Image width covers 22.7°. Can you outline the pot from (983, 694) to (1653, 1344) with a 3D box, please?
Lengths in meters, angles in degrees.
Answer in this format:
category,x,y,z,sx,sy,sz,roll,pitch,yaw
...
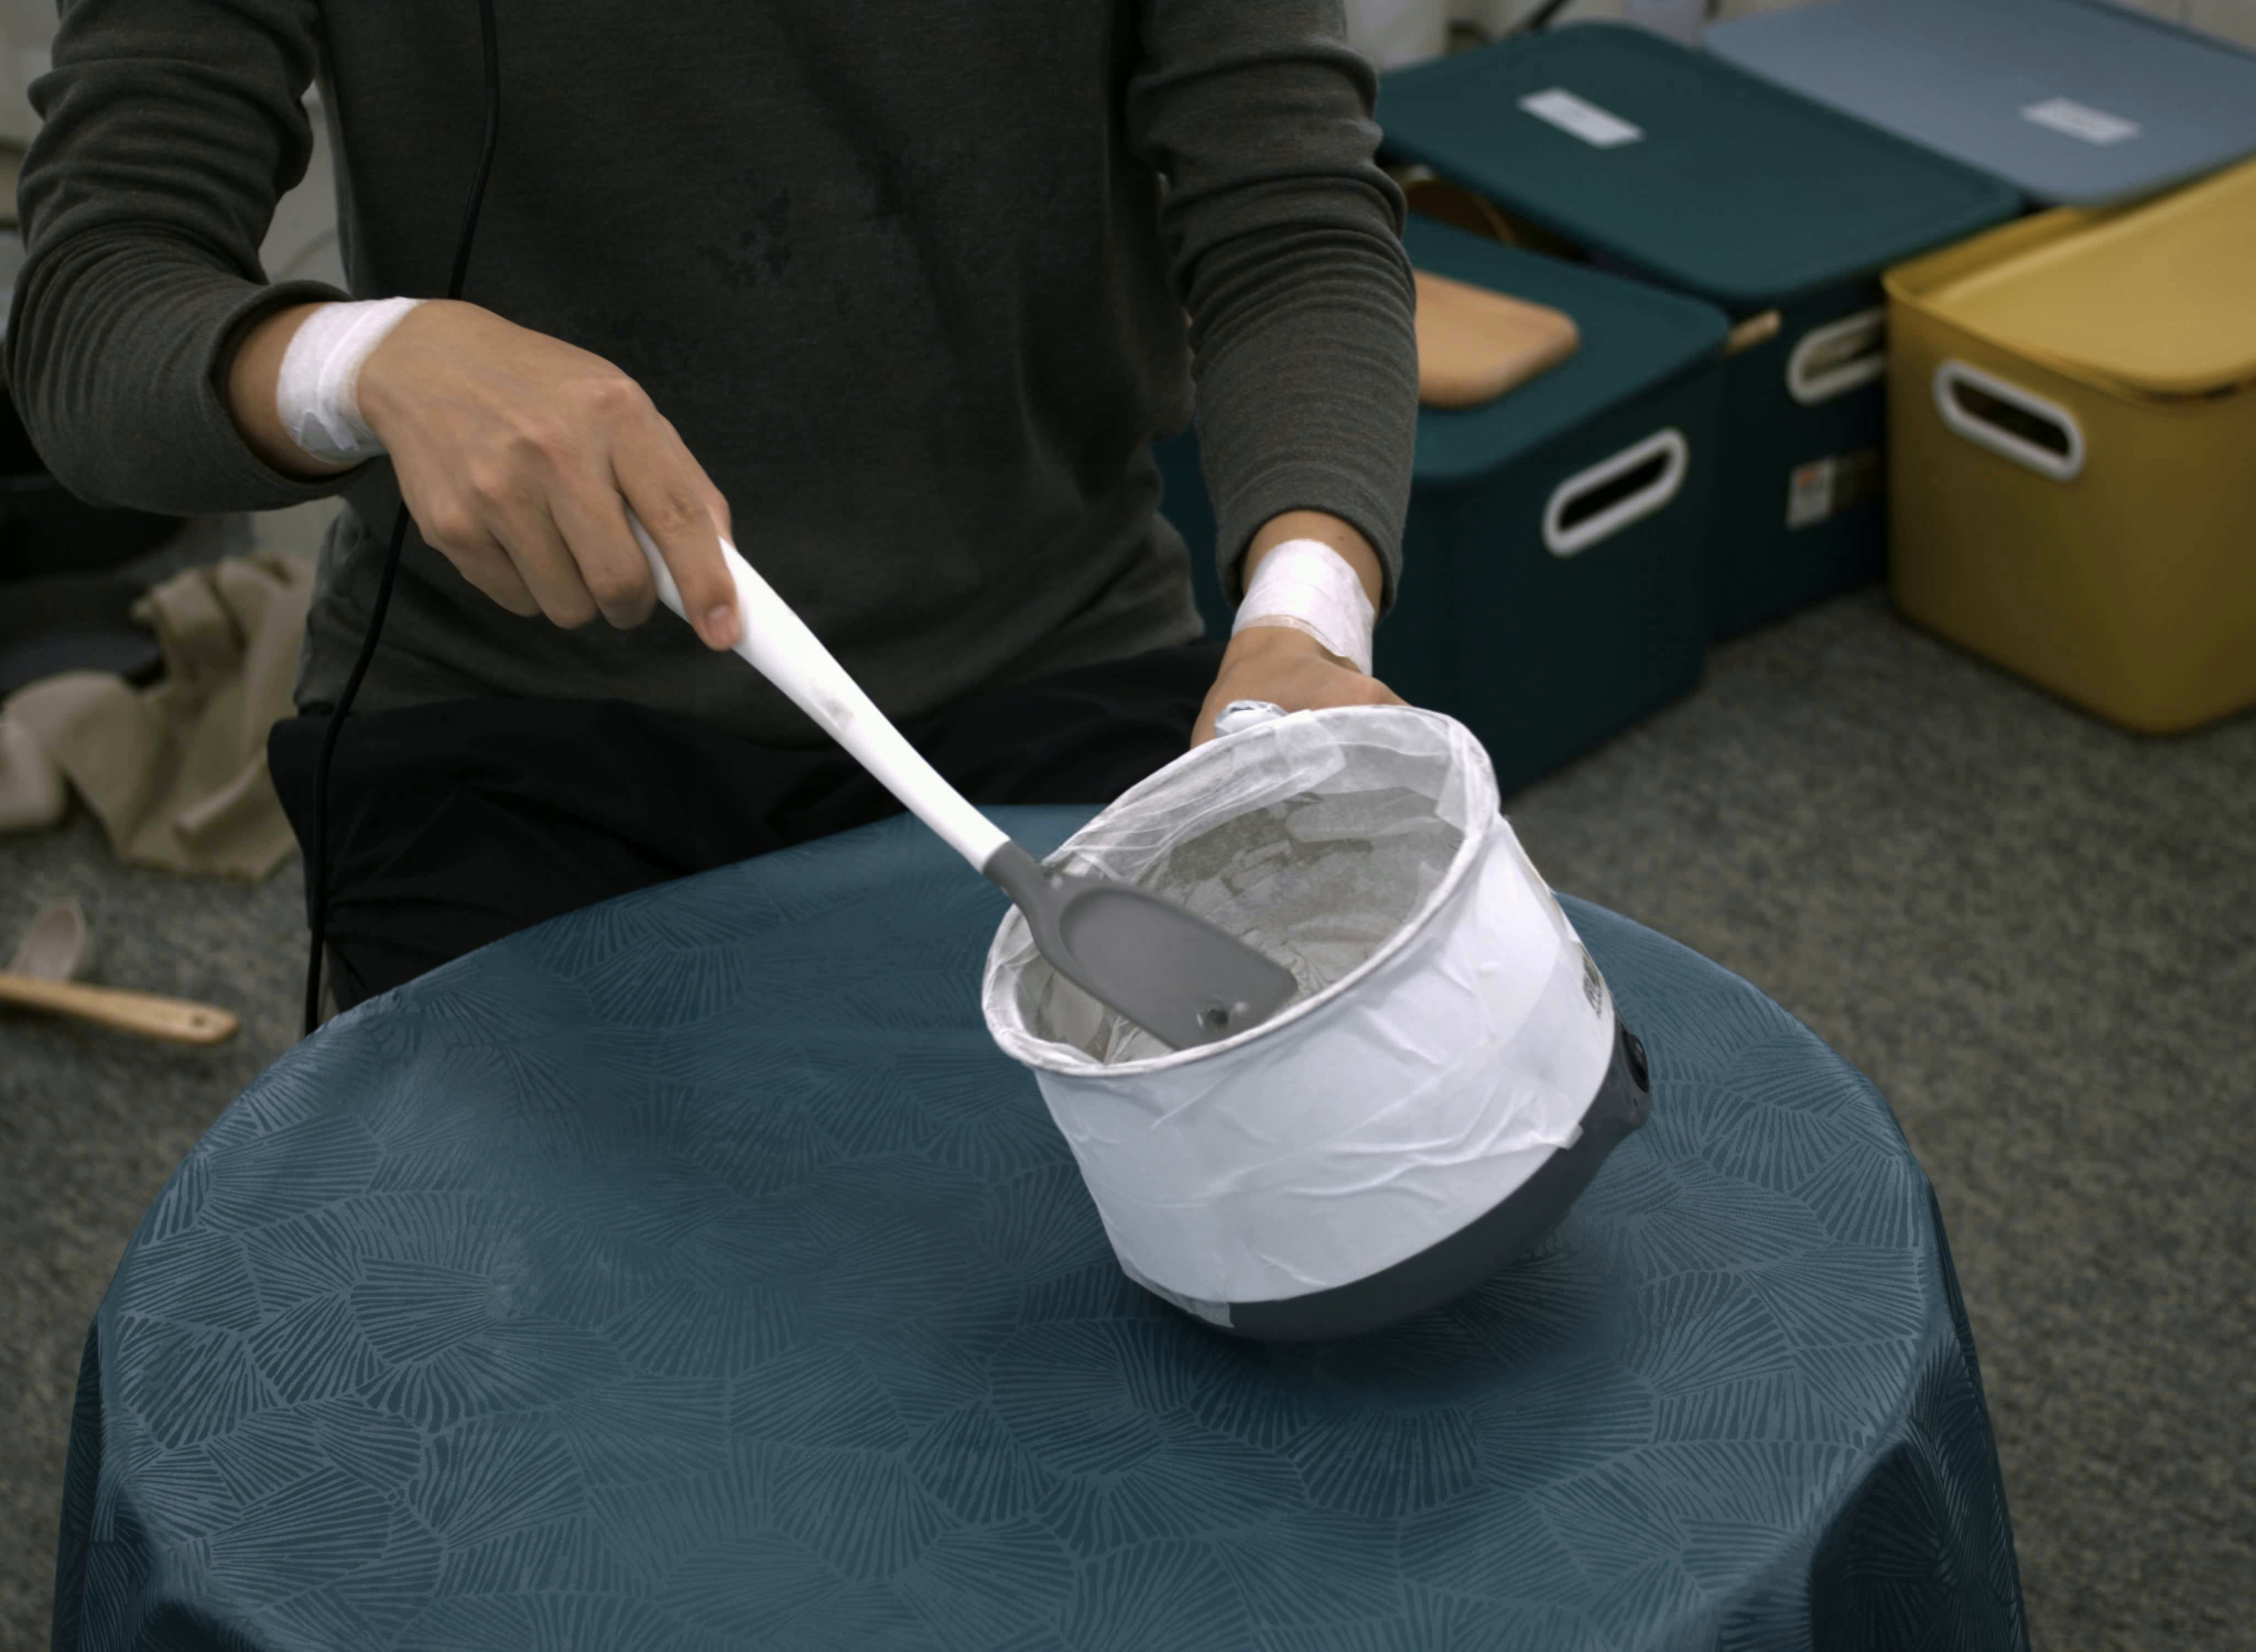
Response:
category,x,y,z,sx,sy,sz,roll,pitch,yaw
pot,0.062,0.051,1.799,0.177,0.135,0.238,-21,29,13

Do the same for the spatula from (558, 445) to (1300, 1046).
category,x,y,z,sx,sy,sz,roll,pitch,yaw
spatula,-0.067,-0.023,1.777,0.288,0.031,0.059,40,48,16
